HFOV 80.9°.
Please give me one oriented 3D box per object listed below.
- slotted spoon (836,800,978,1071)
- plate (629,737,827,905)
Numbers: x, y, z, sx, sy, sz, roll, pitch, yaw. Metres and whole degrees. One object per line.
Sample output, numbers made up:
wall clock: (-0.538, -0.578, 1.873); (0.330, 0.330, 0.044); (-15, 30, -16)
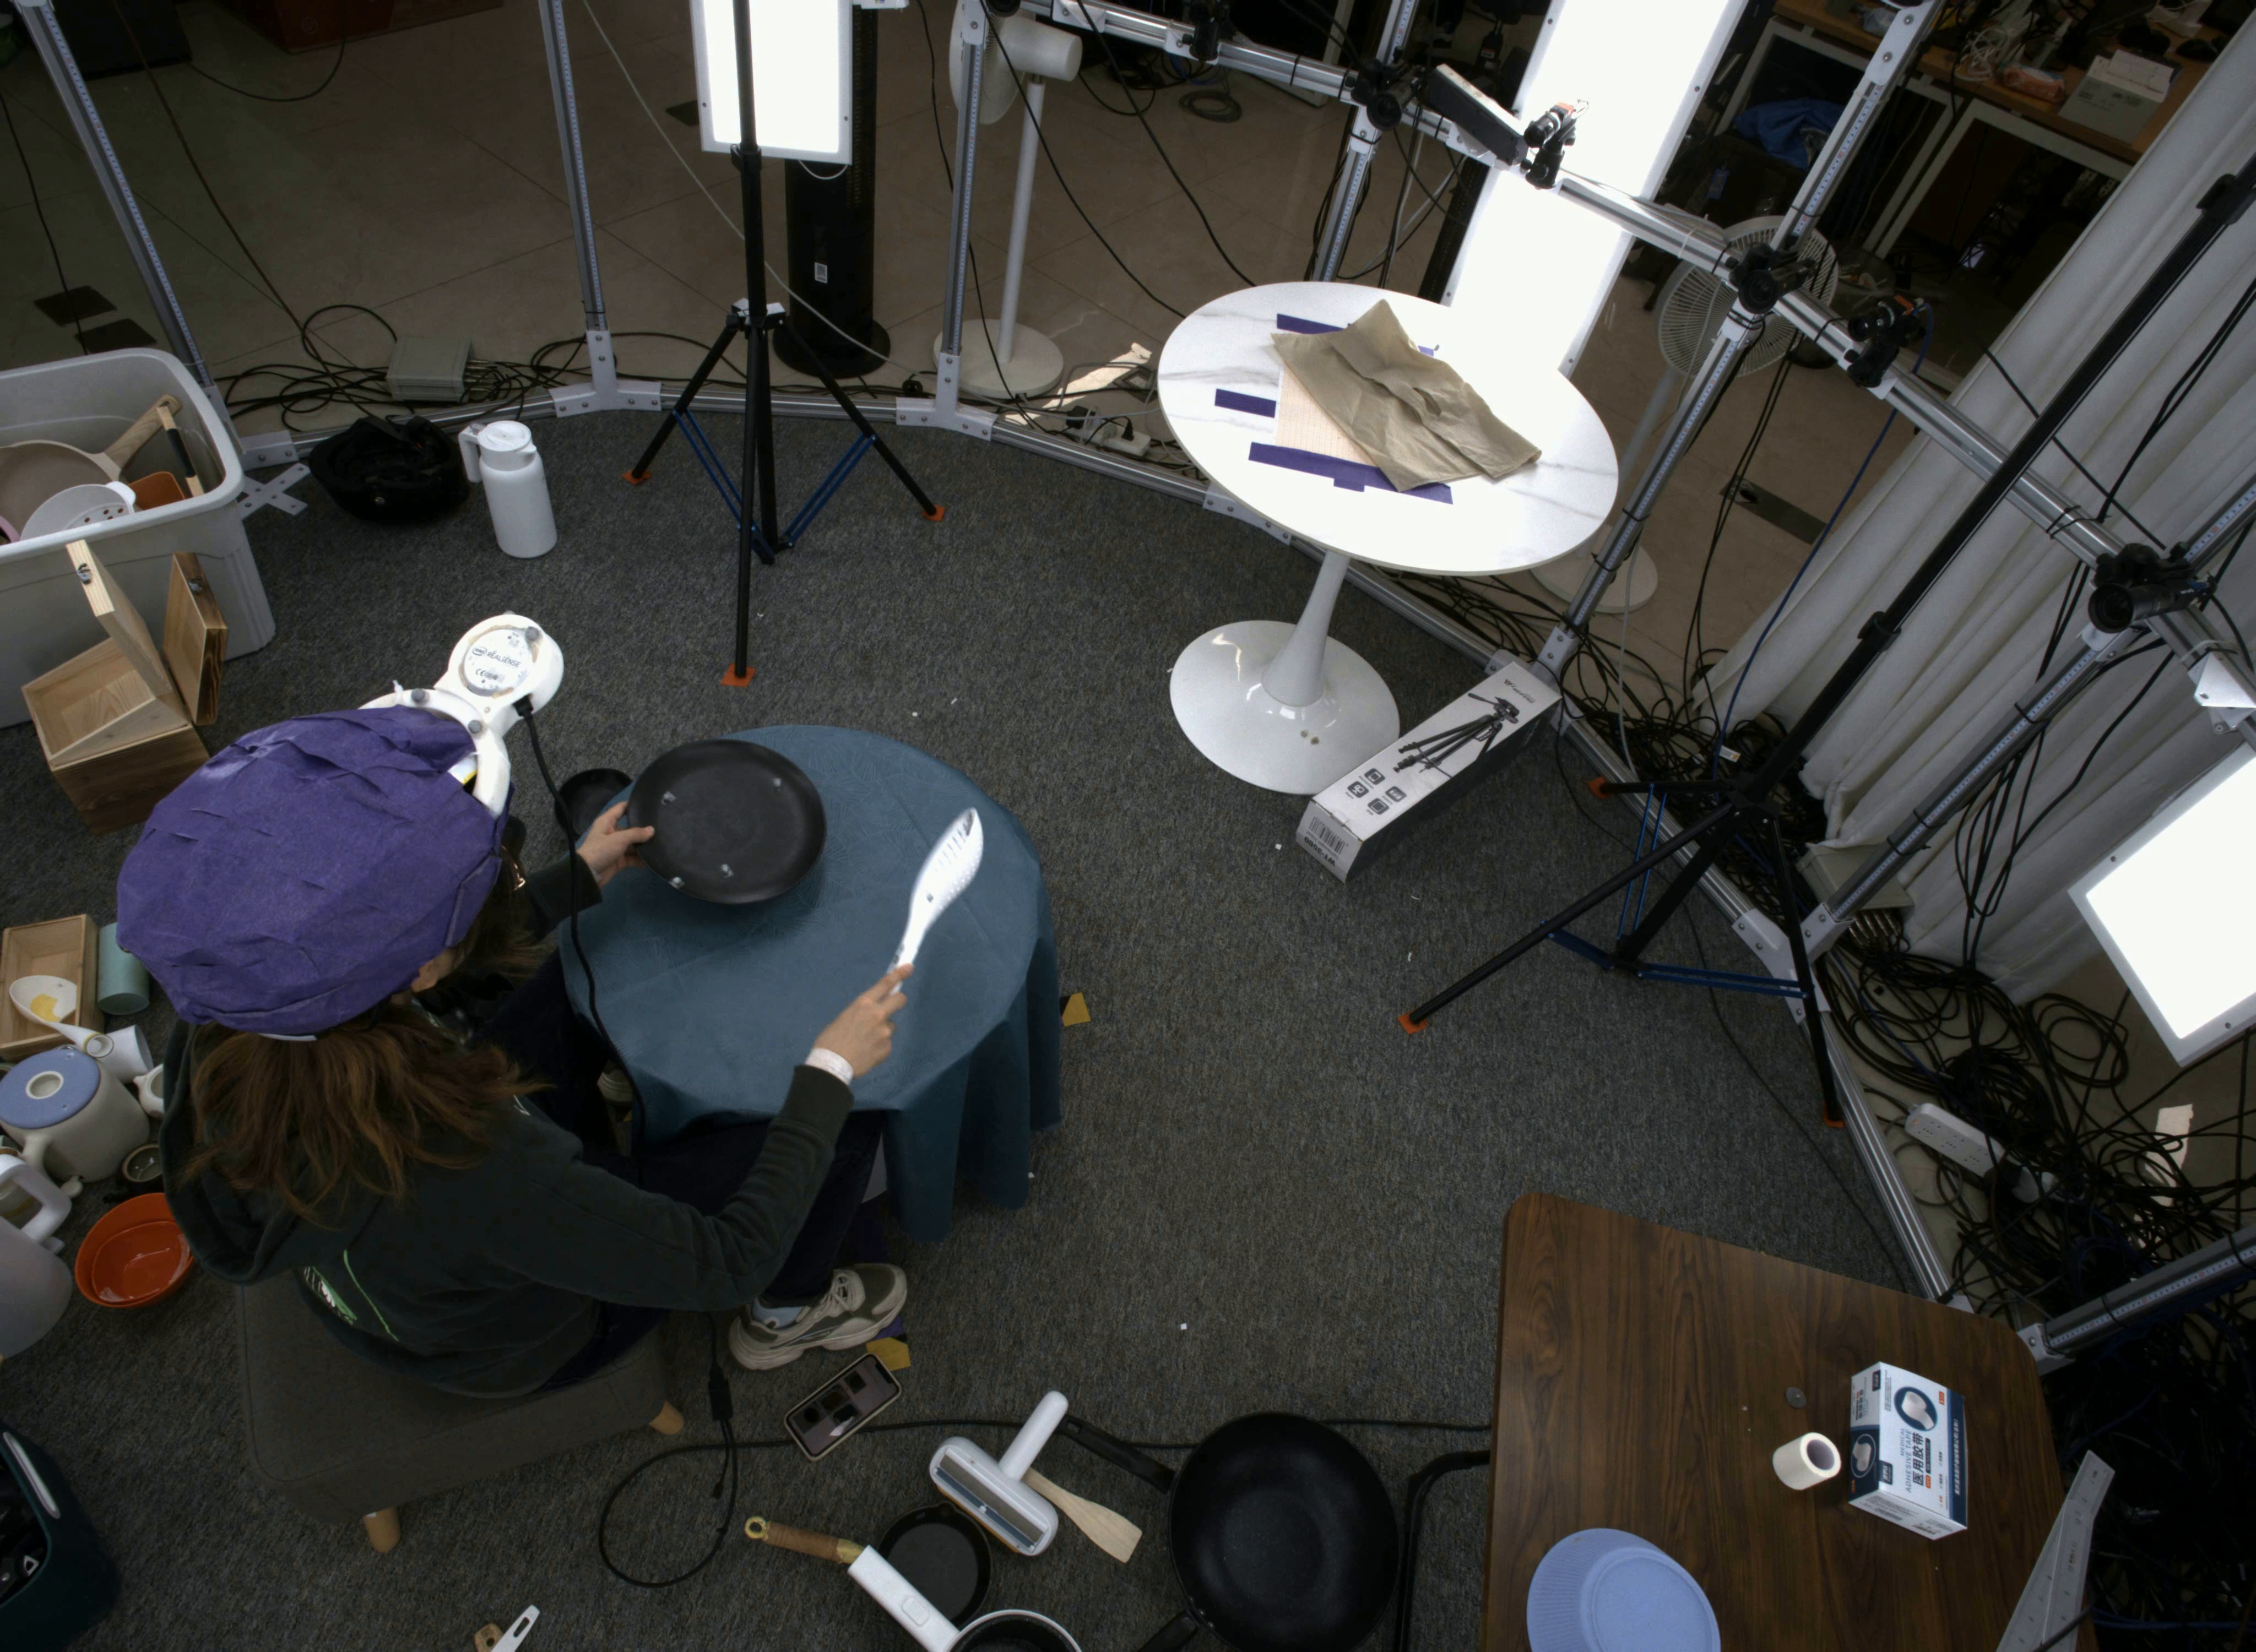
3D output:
slotted spoon: (-0.252, 0.118, 1.486); (0.047, 0.134, 0.348); (37, 57, -18)
plate: (-0.501, -0.005, 1.620); (0.246, 0.023, 0.240); (13, 55, -18)
